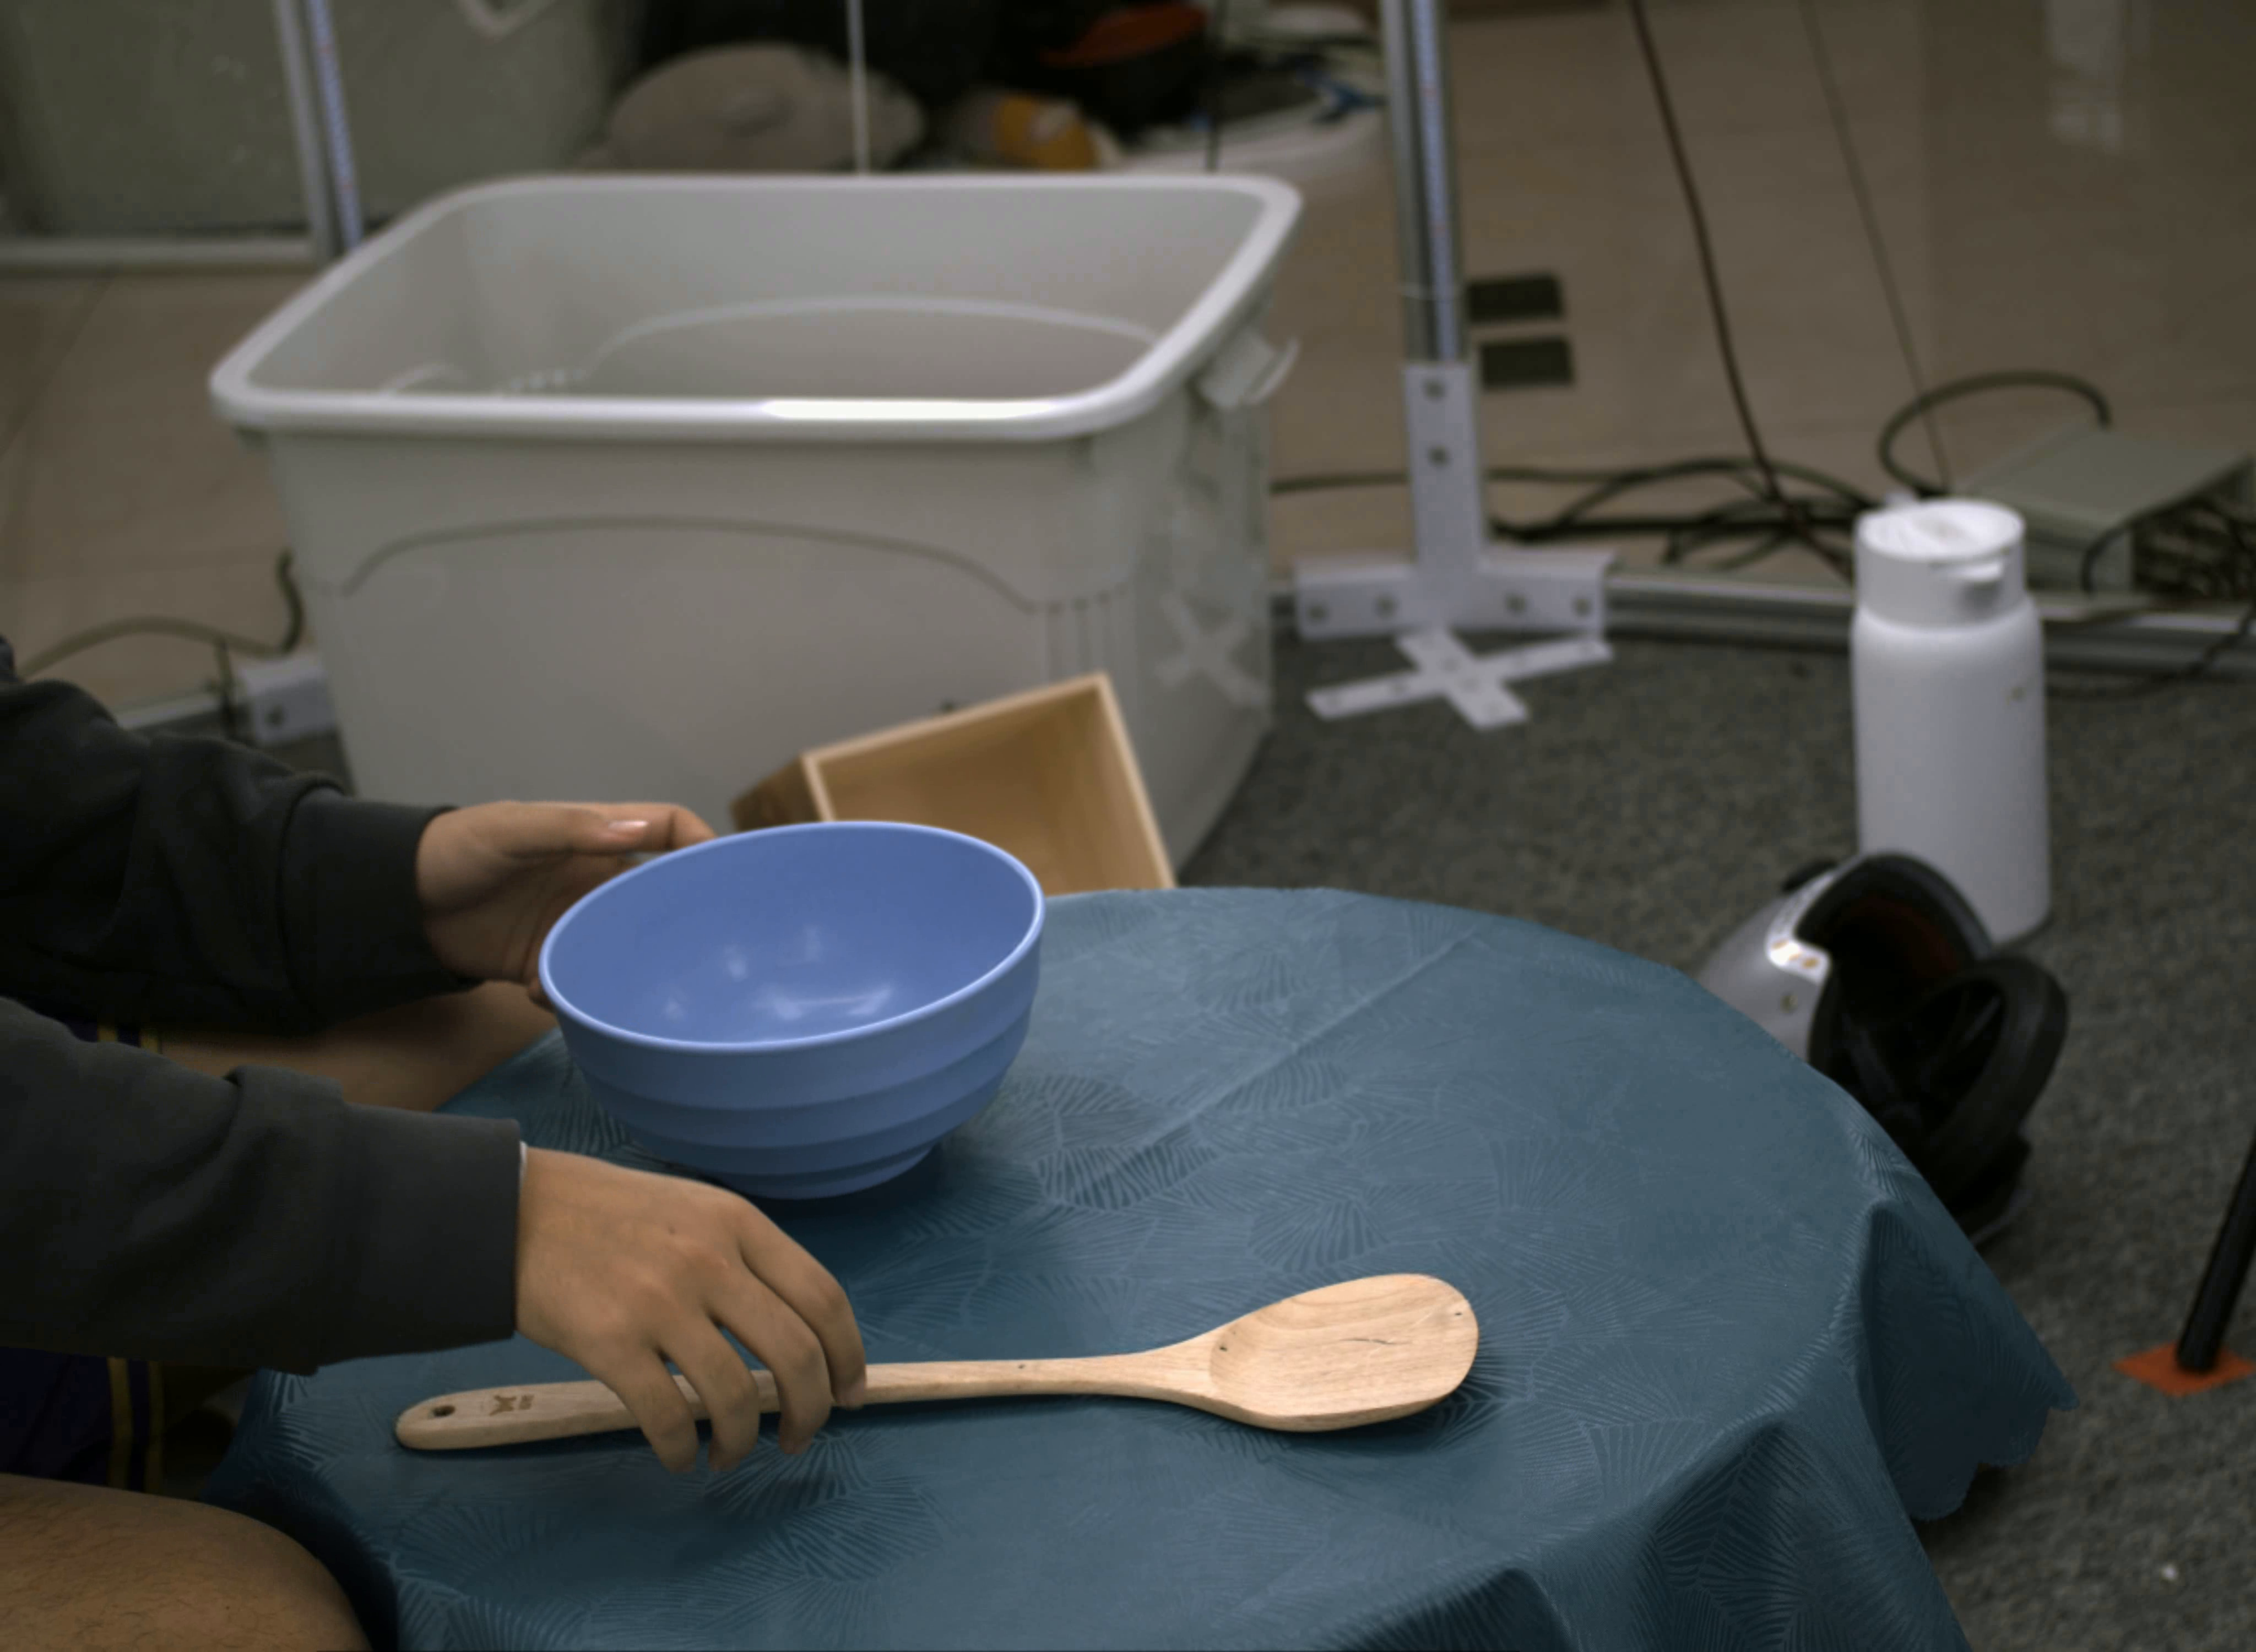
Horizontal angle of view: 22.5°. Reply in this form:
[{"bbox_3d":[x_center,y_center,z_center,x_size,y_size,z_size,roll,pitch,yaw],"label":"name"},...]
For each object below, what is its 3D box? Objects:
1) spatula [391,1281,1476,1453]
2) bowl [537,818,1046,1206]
[{"bbox_3d":[-0.071,0.200,2.012,0.390,0.019,0.094,-4,23,5],"label":"spatula"},{"bbox_3d":[-0.125,0.083,2.189,0.196,0.097,0.193,-4,28,2],"label":"bowl"}]
